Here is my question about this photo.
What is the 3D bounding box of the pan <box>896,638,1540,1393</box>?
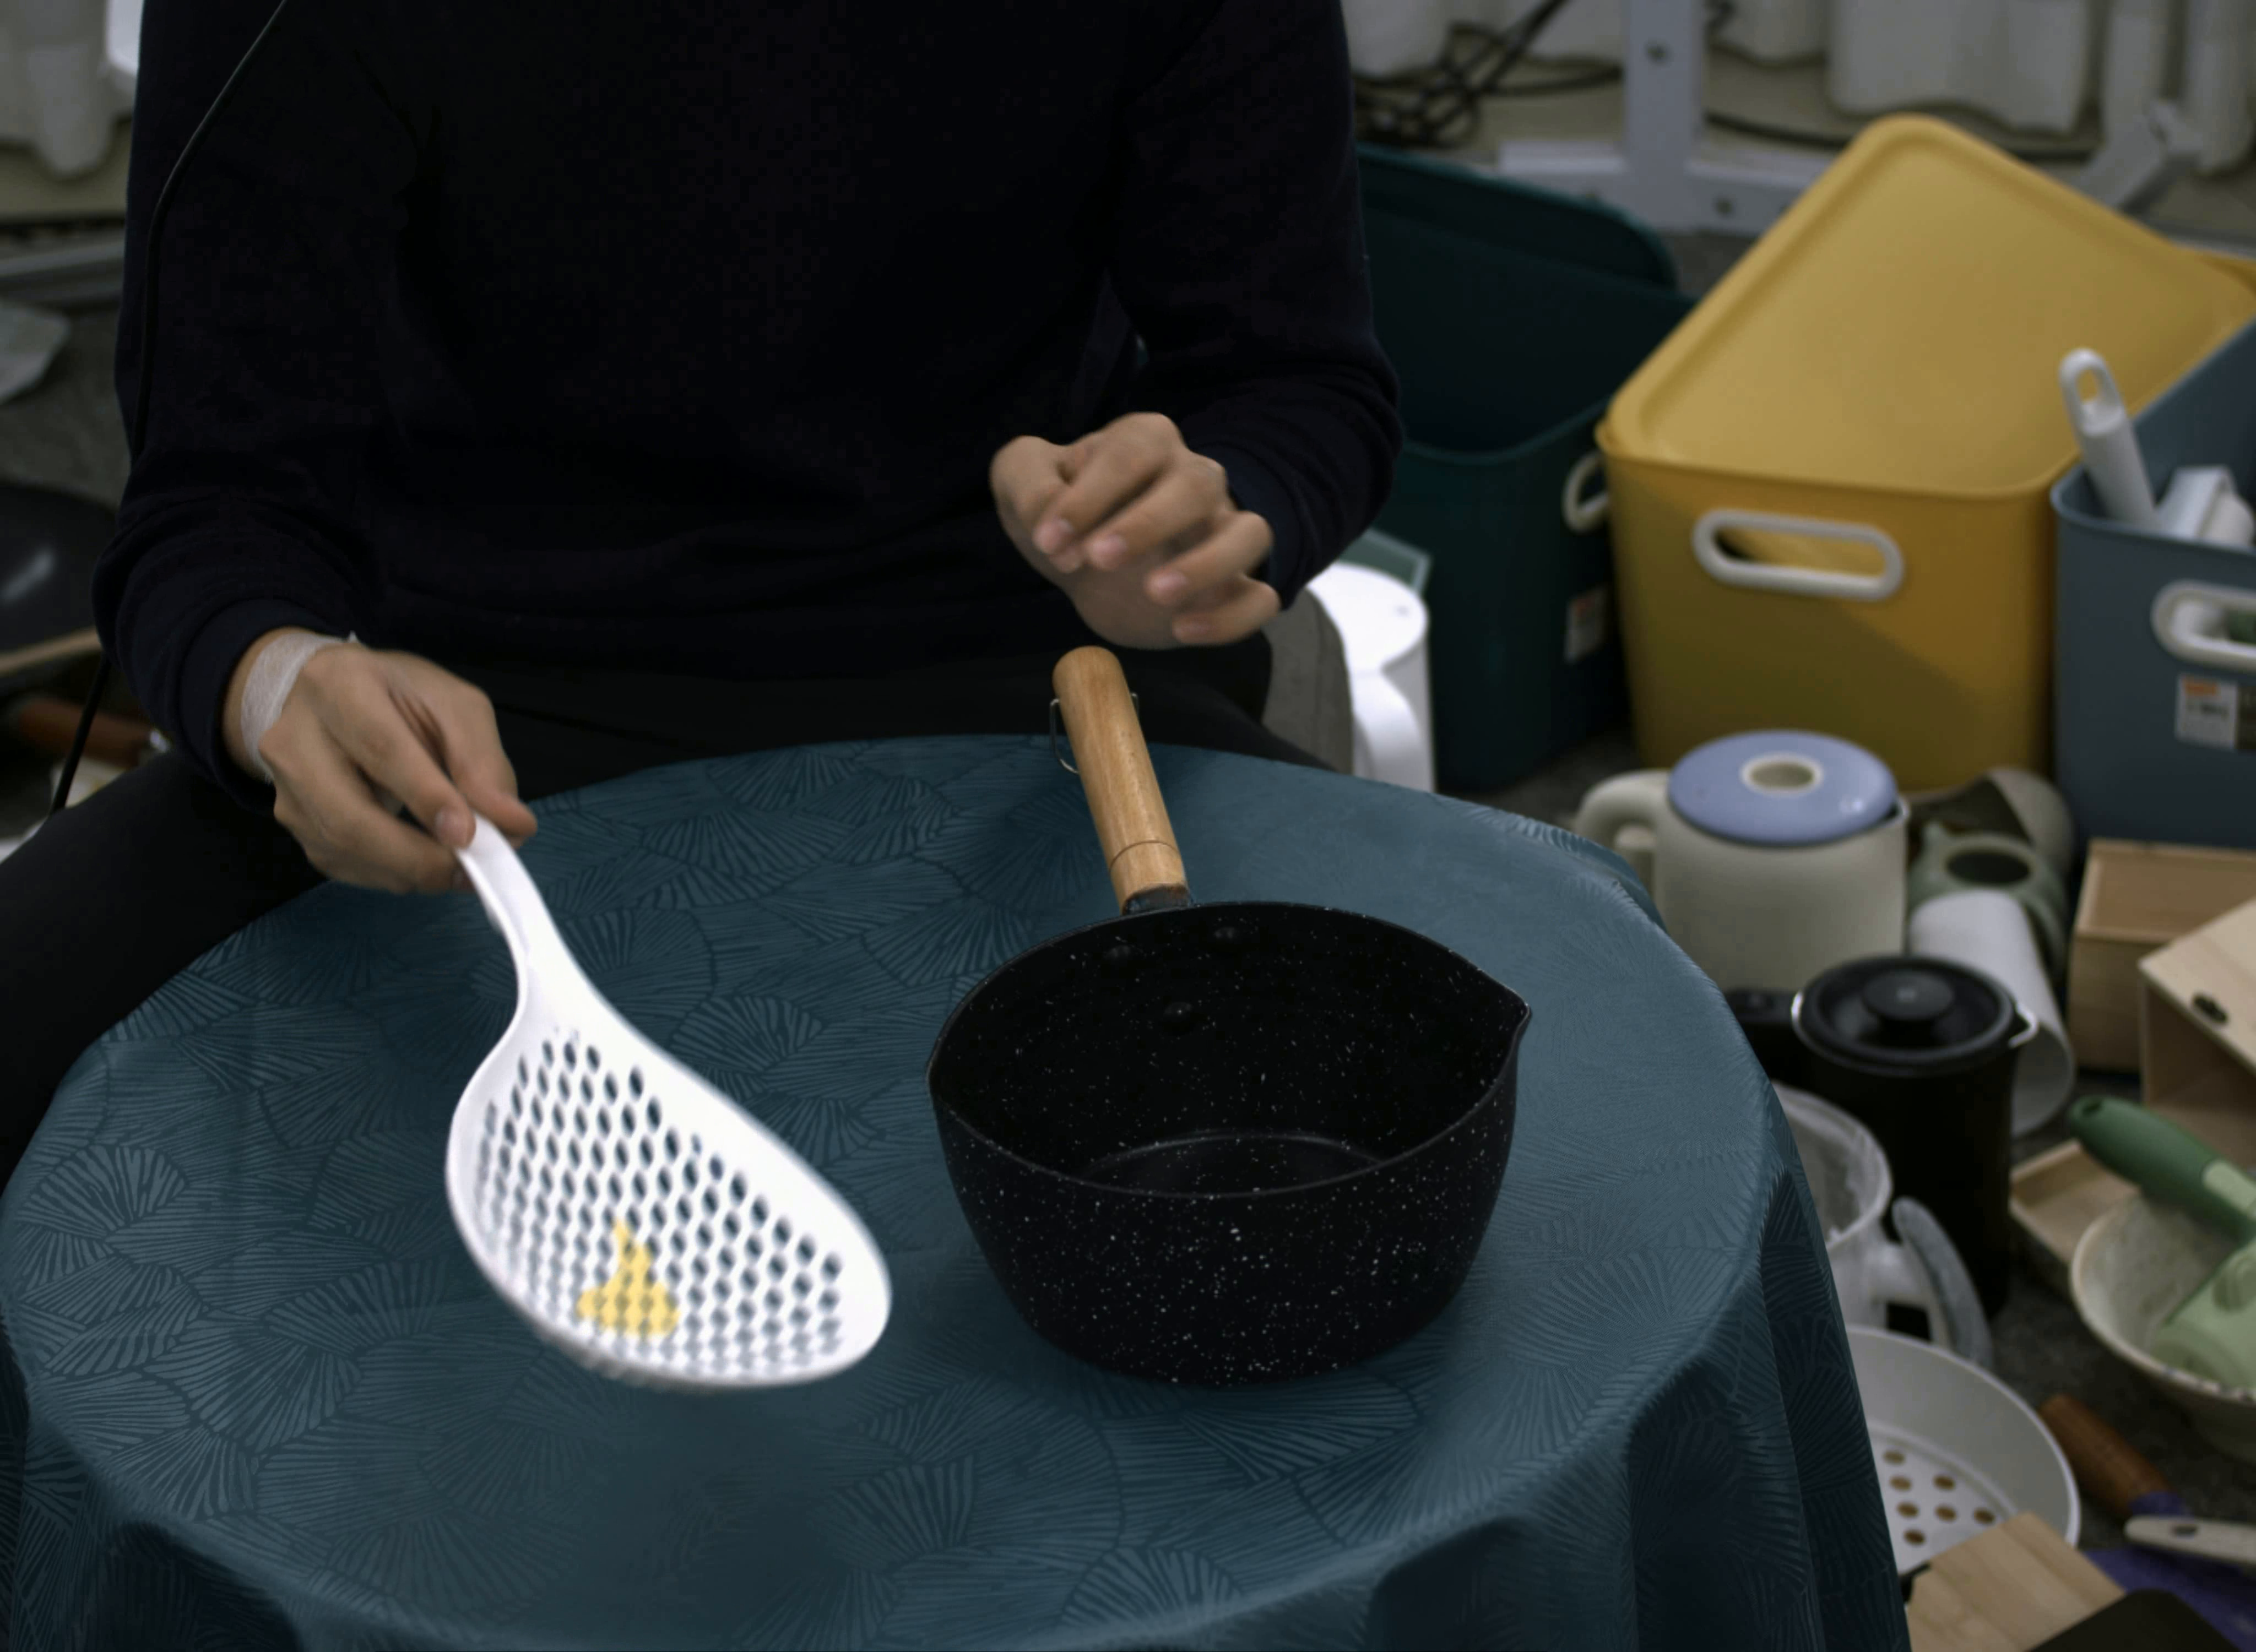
[{"bbox_3d":[0.016,0.059,1.866,0.207,0.107,0.347,-9,29,-9],"label":"pan"}]

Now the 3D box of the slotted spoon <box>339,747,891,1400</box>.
[{"bbox_3d":[-0.181,0.068,1.745,0.137,0.049,0.352,6,36,-30],"label":"slotted spoon"}]
